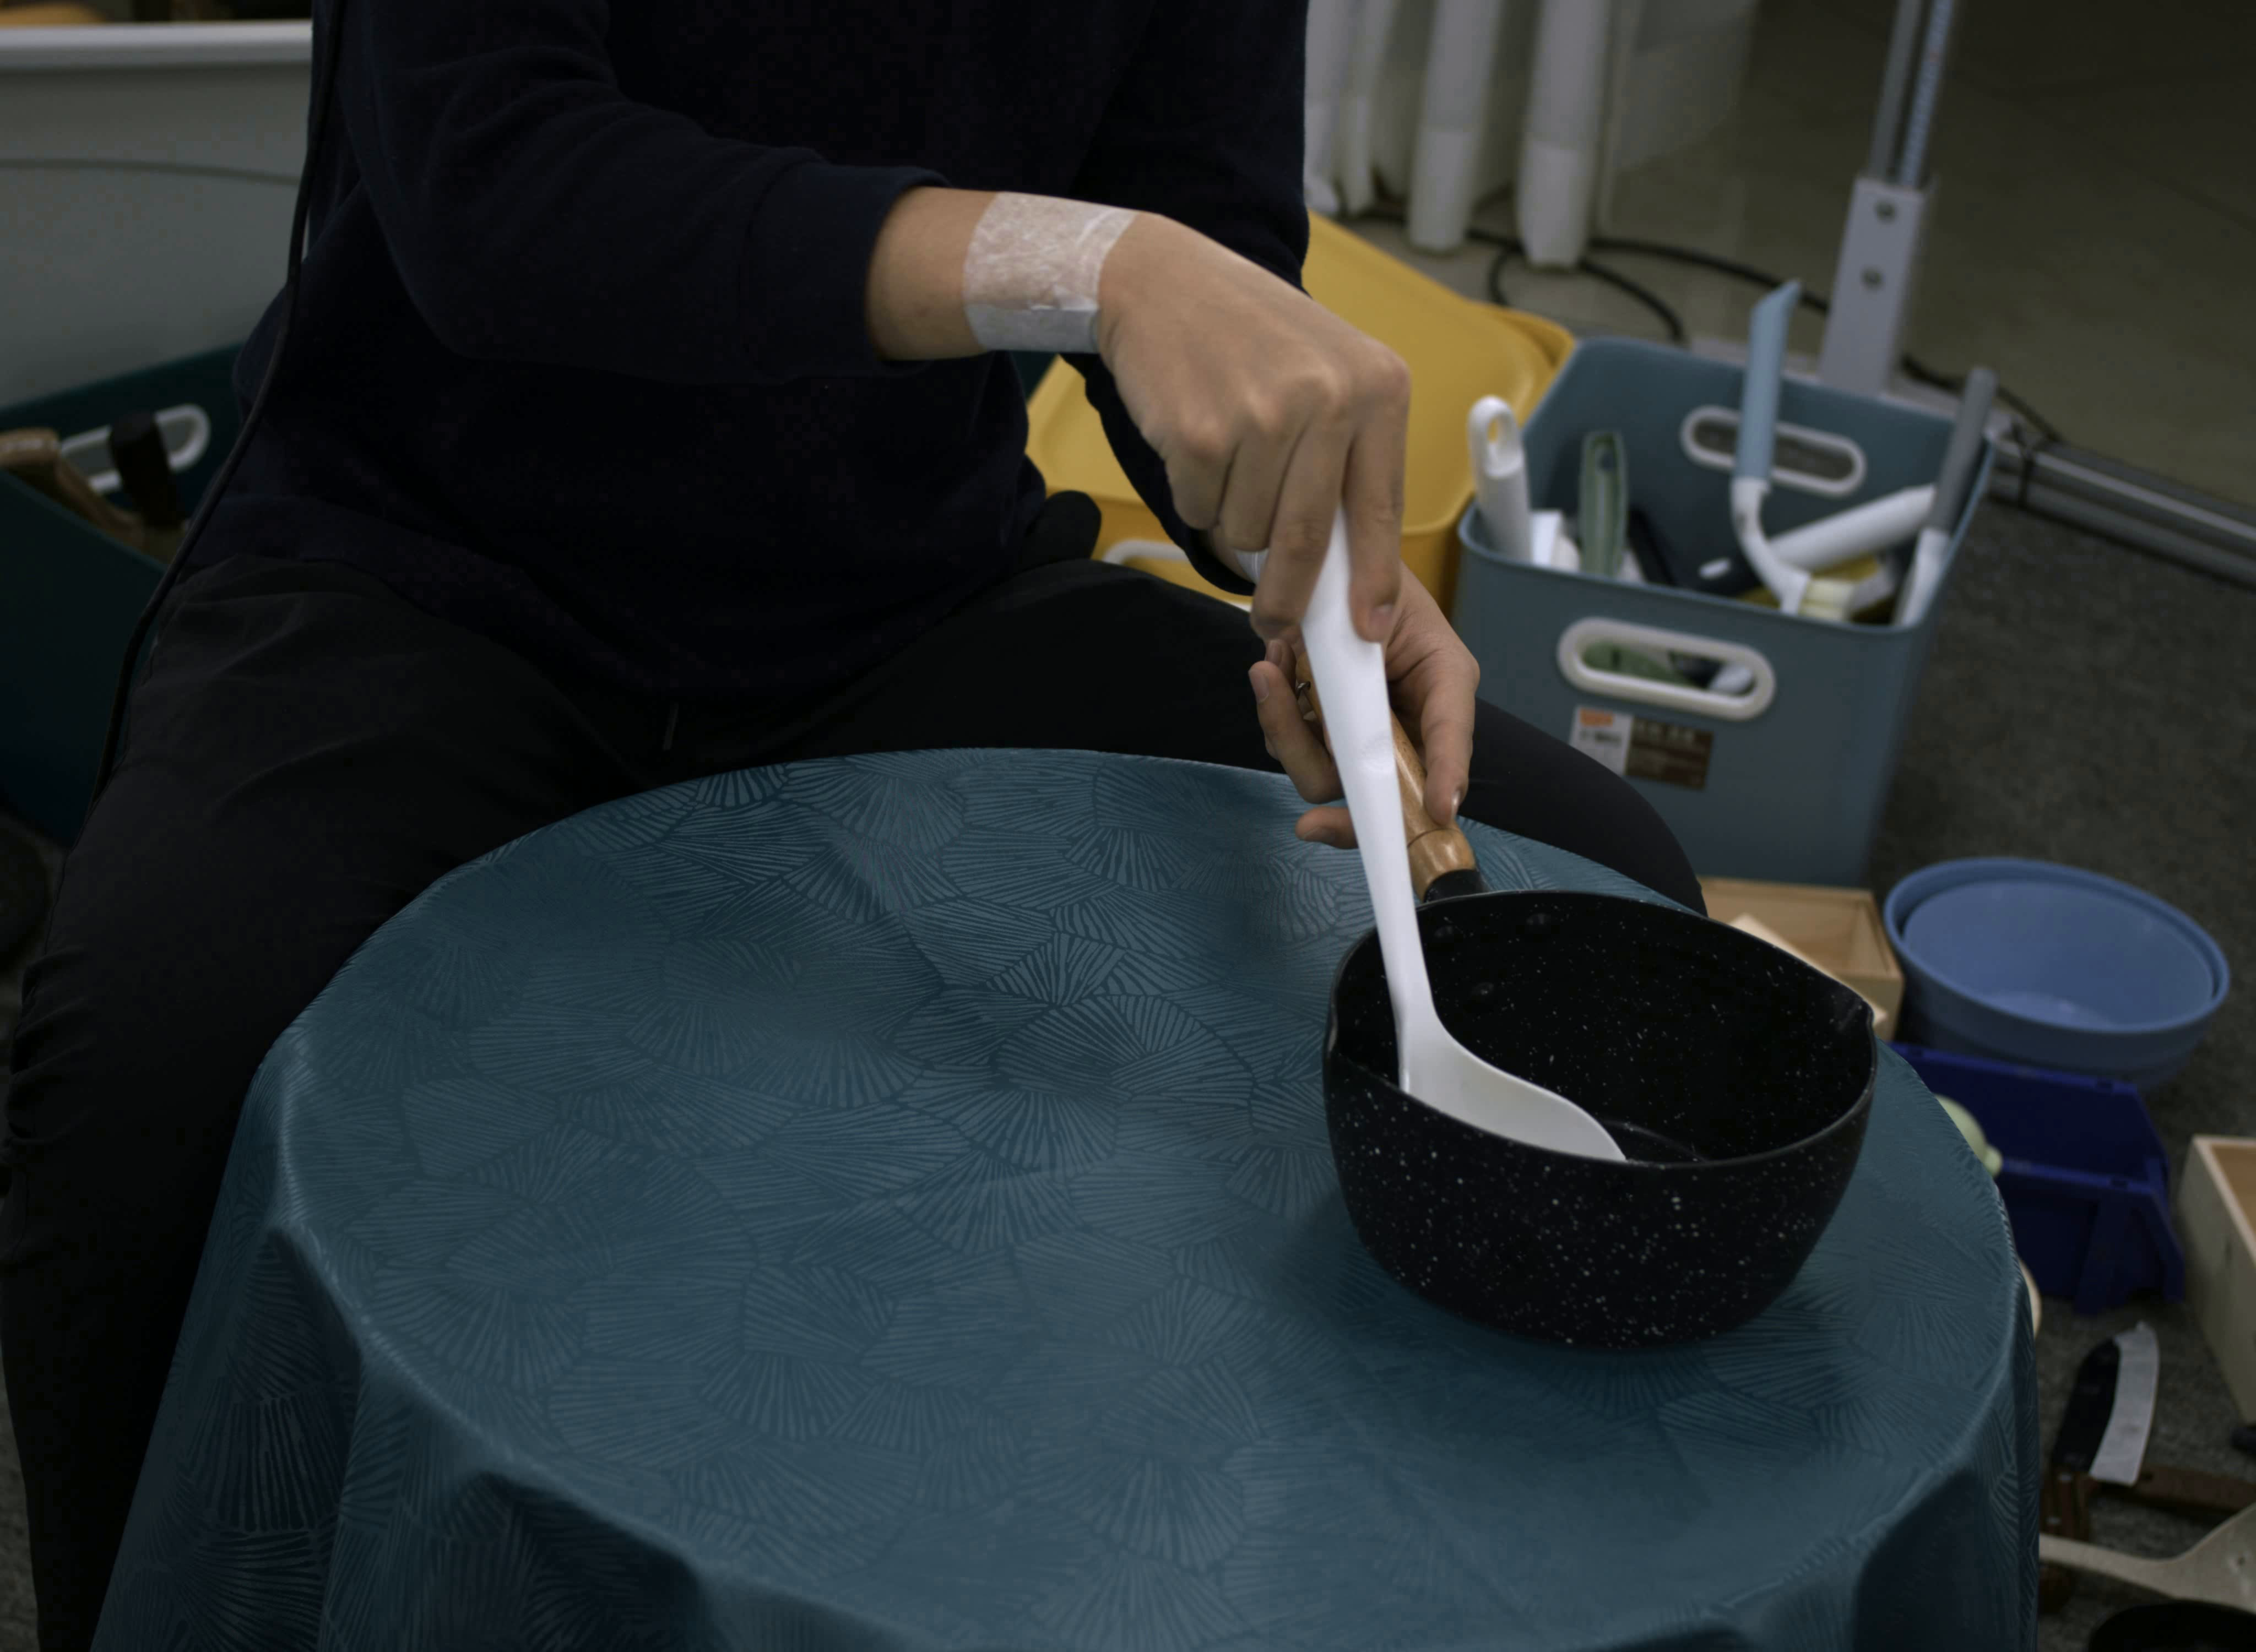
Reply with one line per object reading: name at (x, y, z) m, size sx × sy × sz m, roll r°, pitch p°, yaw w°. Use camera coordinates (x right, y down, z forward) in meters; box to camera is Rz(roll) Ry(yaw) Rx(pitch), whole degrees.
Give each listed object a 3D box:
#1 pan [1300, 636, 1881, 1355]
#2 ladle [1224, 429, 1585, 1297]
pan at (0.126, 0.055, 1.847) m, size 0.206 × 0.108 × 0.346 m, roll -6°, pitch 31°, yaw -21°
ladle at (0.090, 0.012, 1.760) m, size 0.089 × 0.293 × 0.070 m, roll -17°, pitch 7°, yaw -27°
